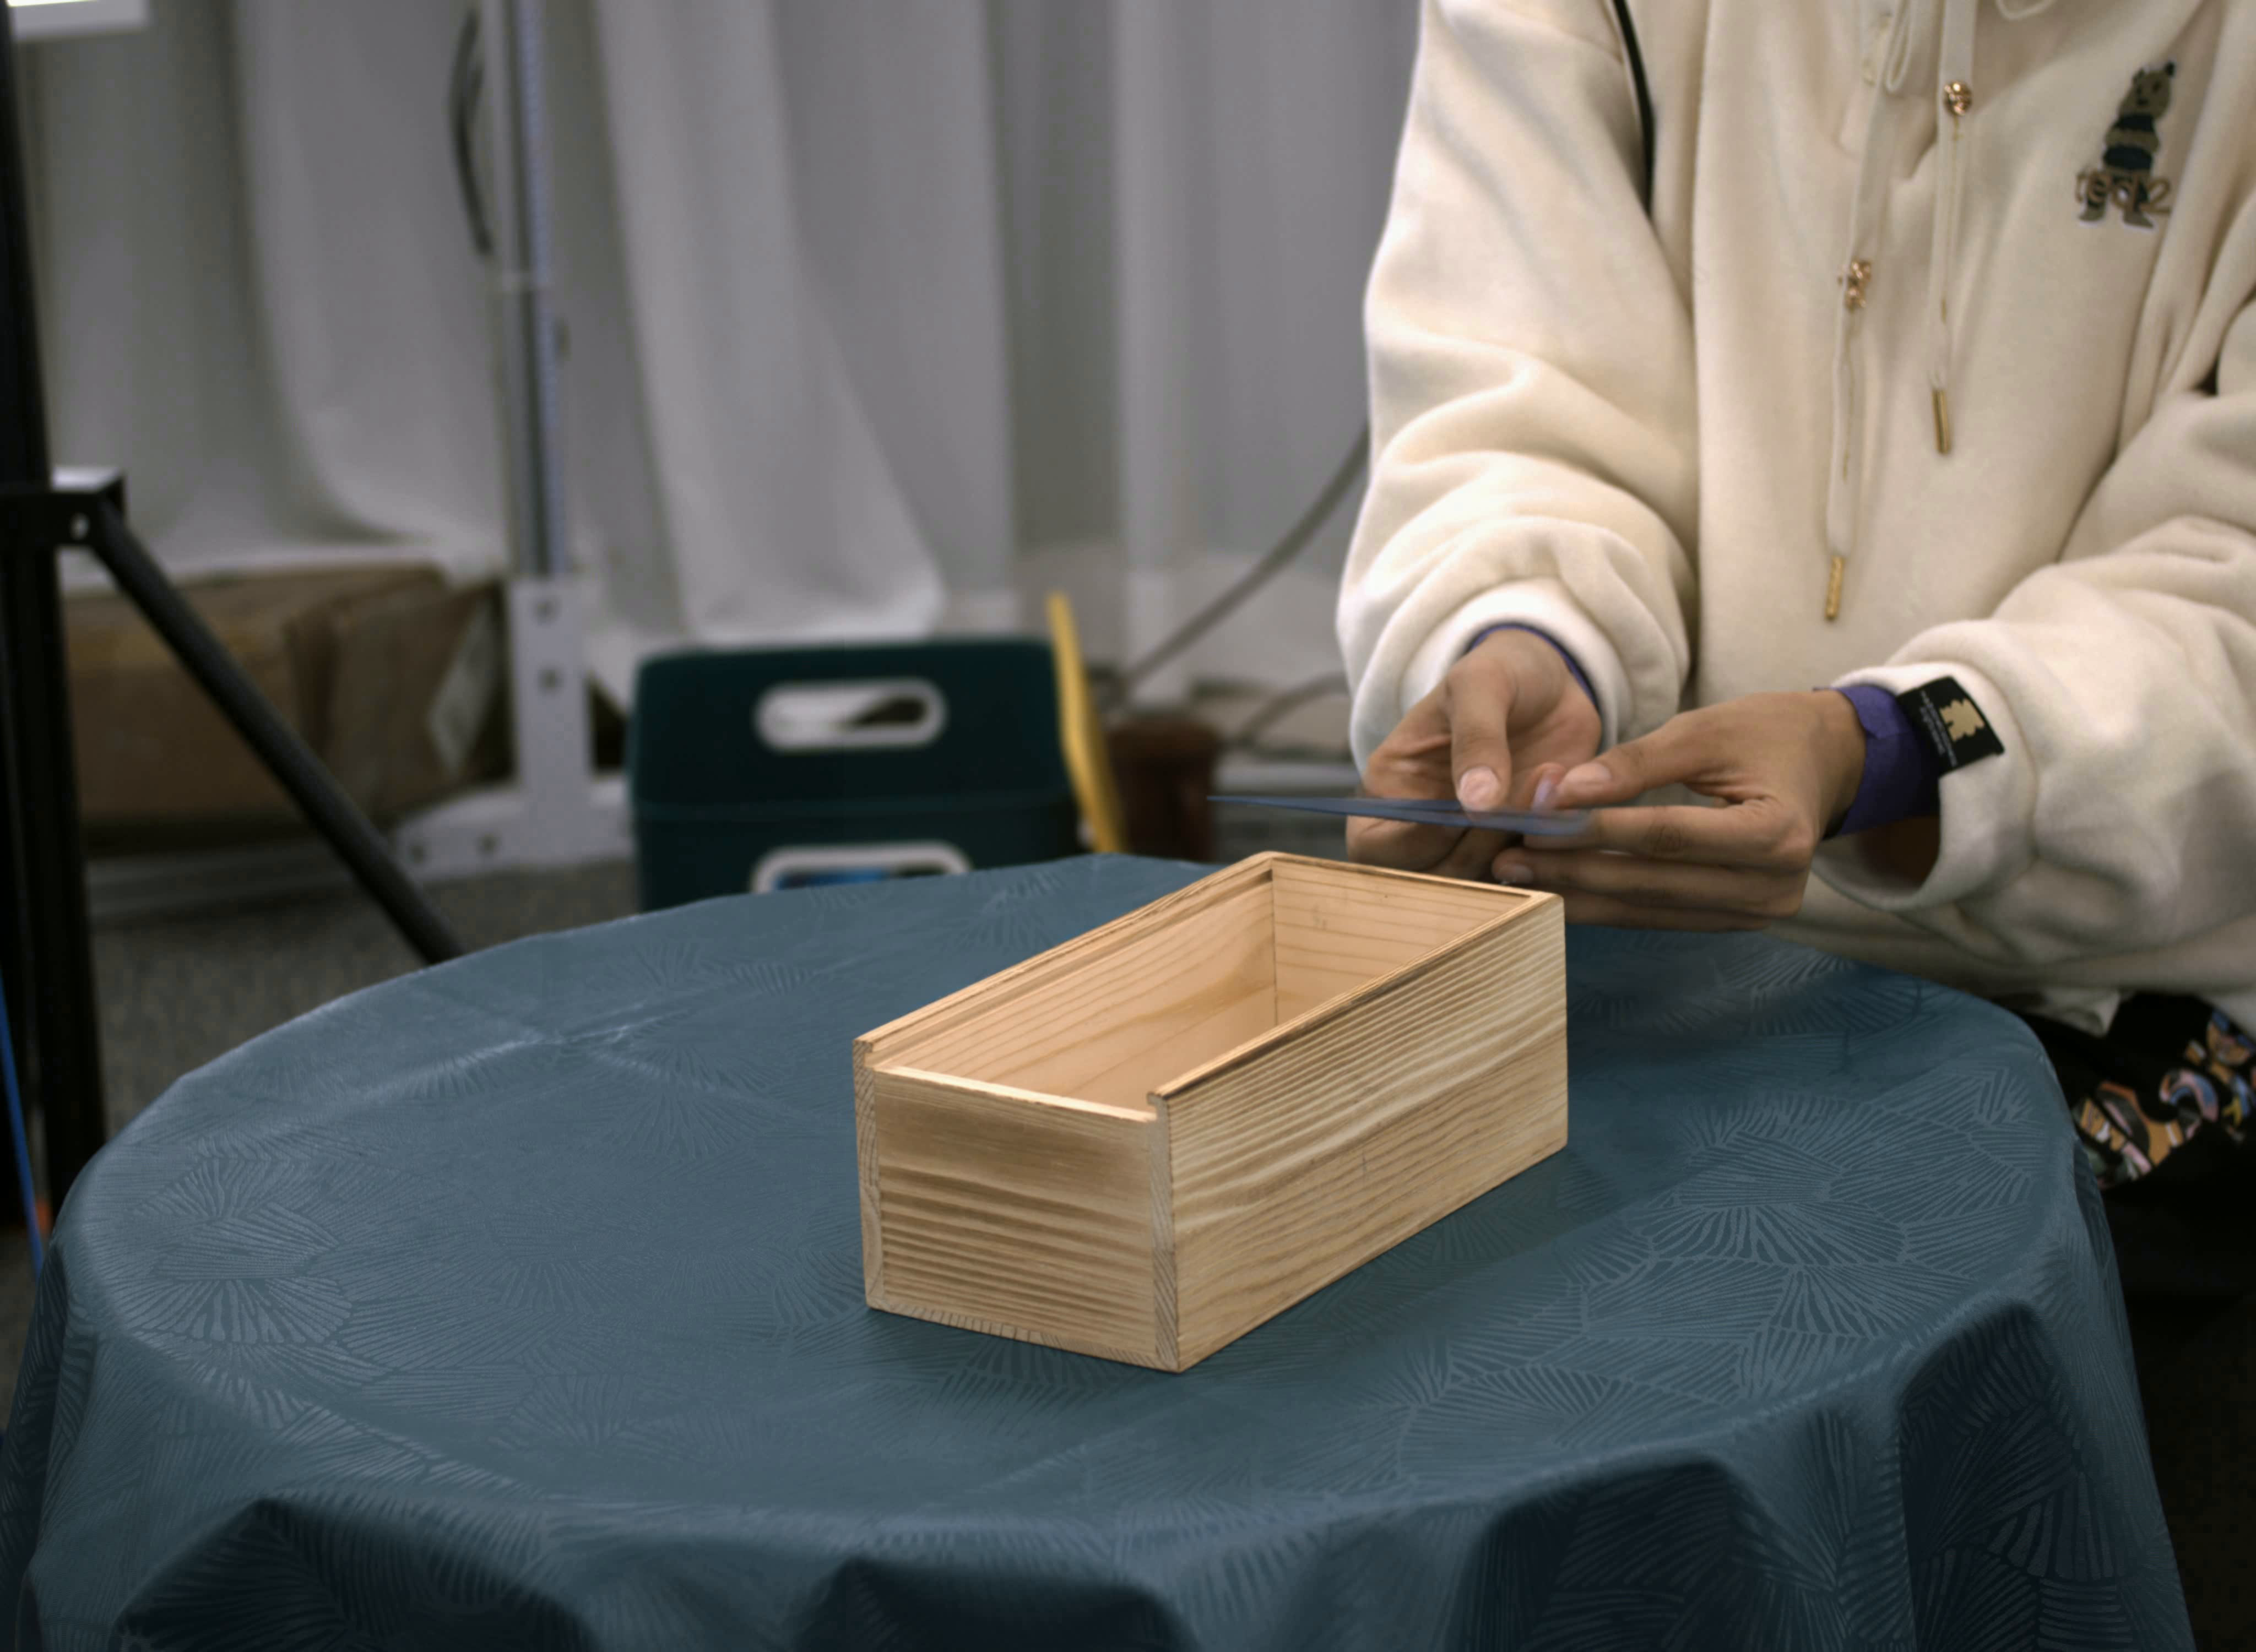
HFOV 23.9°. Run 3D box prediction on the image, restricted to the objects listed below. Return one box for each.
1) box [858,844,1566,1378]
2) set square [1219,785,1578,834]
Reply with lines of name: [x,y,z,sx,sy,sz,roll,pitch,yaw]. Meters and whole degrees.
box: [0.028,0.077,1.516,0.109,0.080,0.207,9,20,33]
set square: [0.093,-0.008,1.654,0.135,0.006,0.059,7,13,42]
